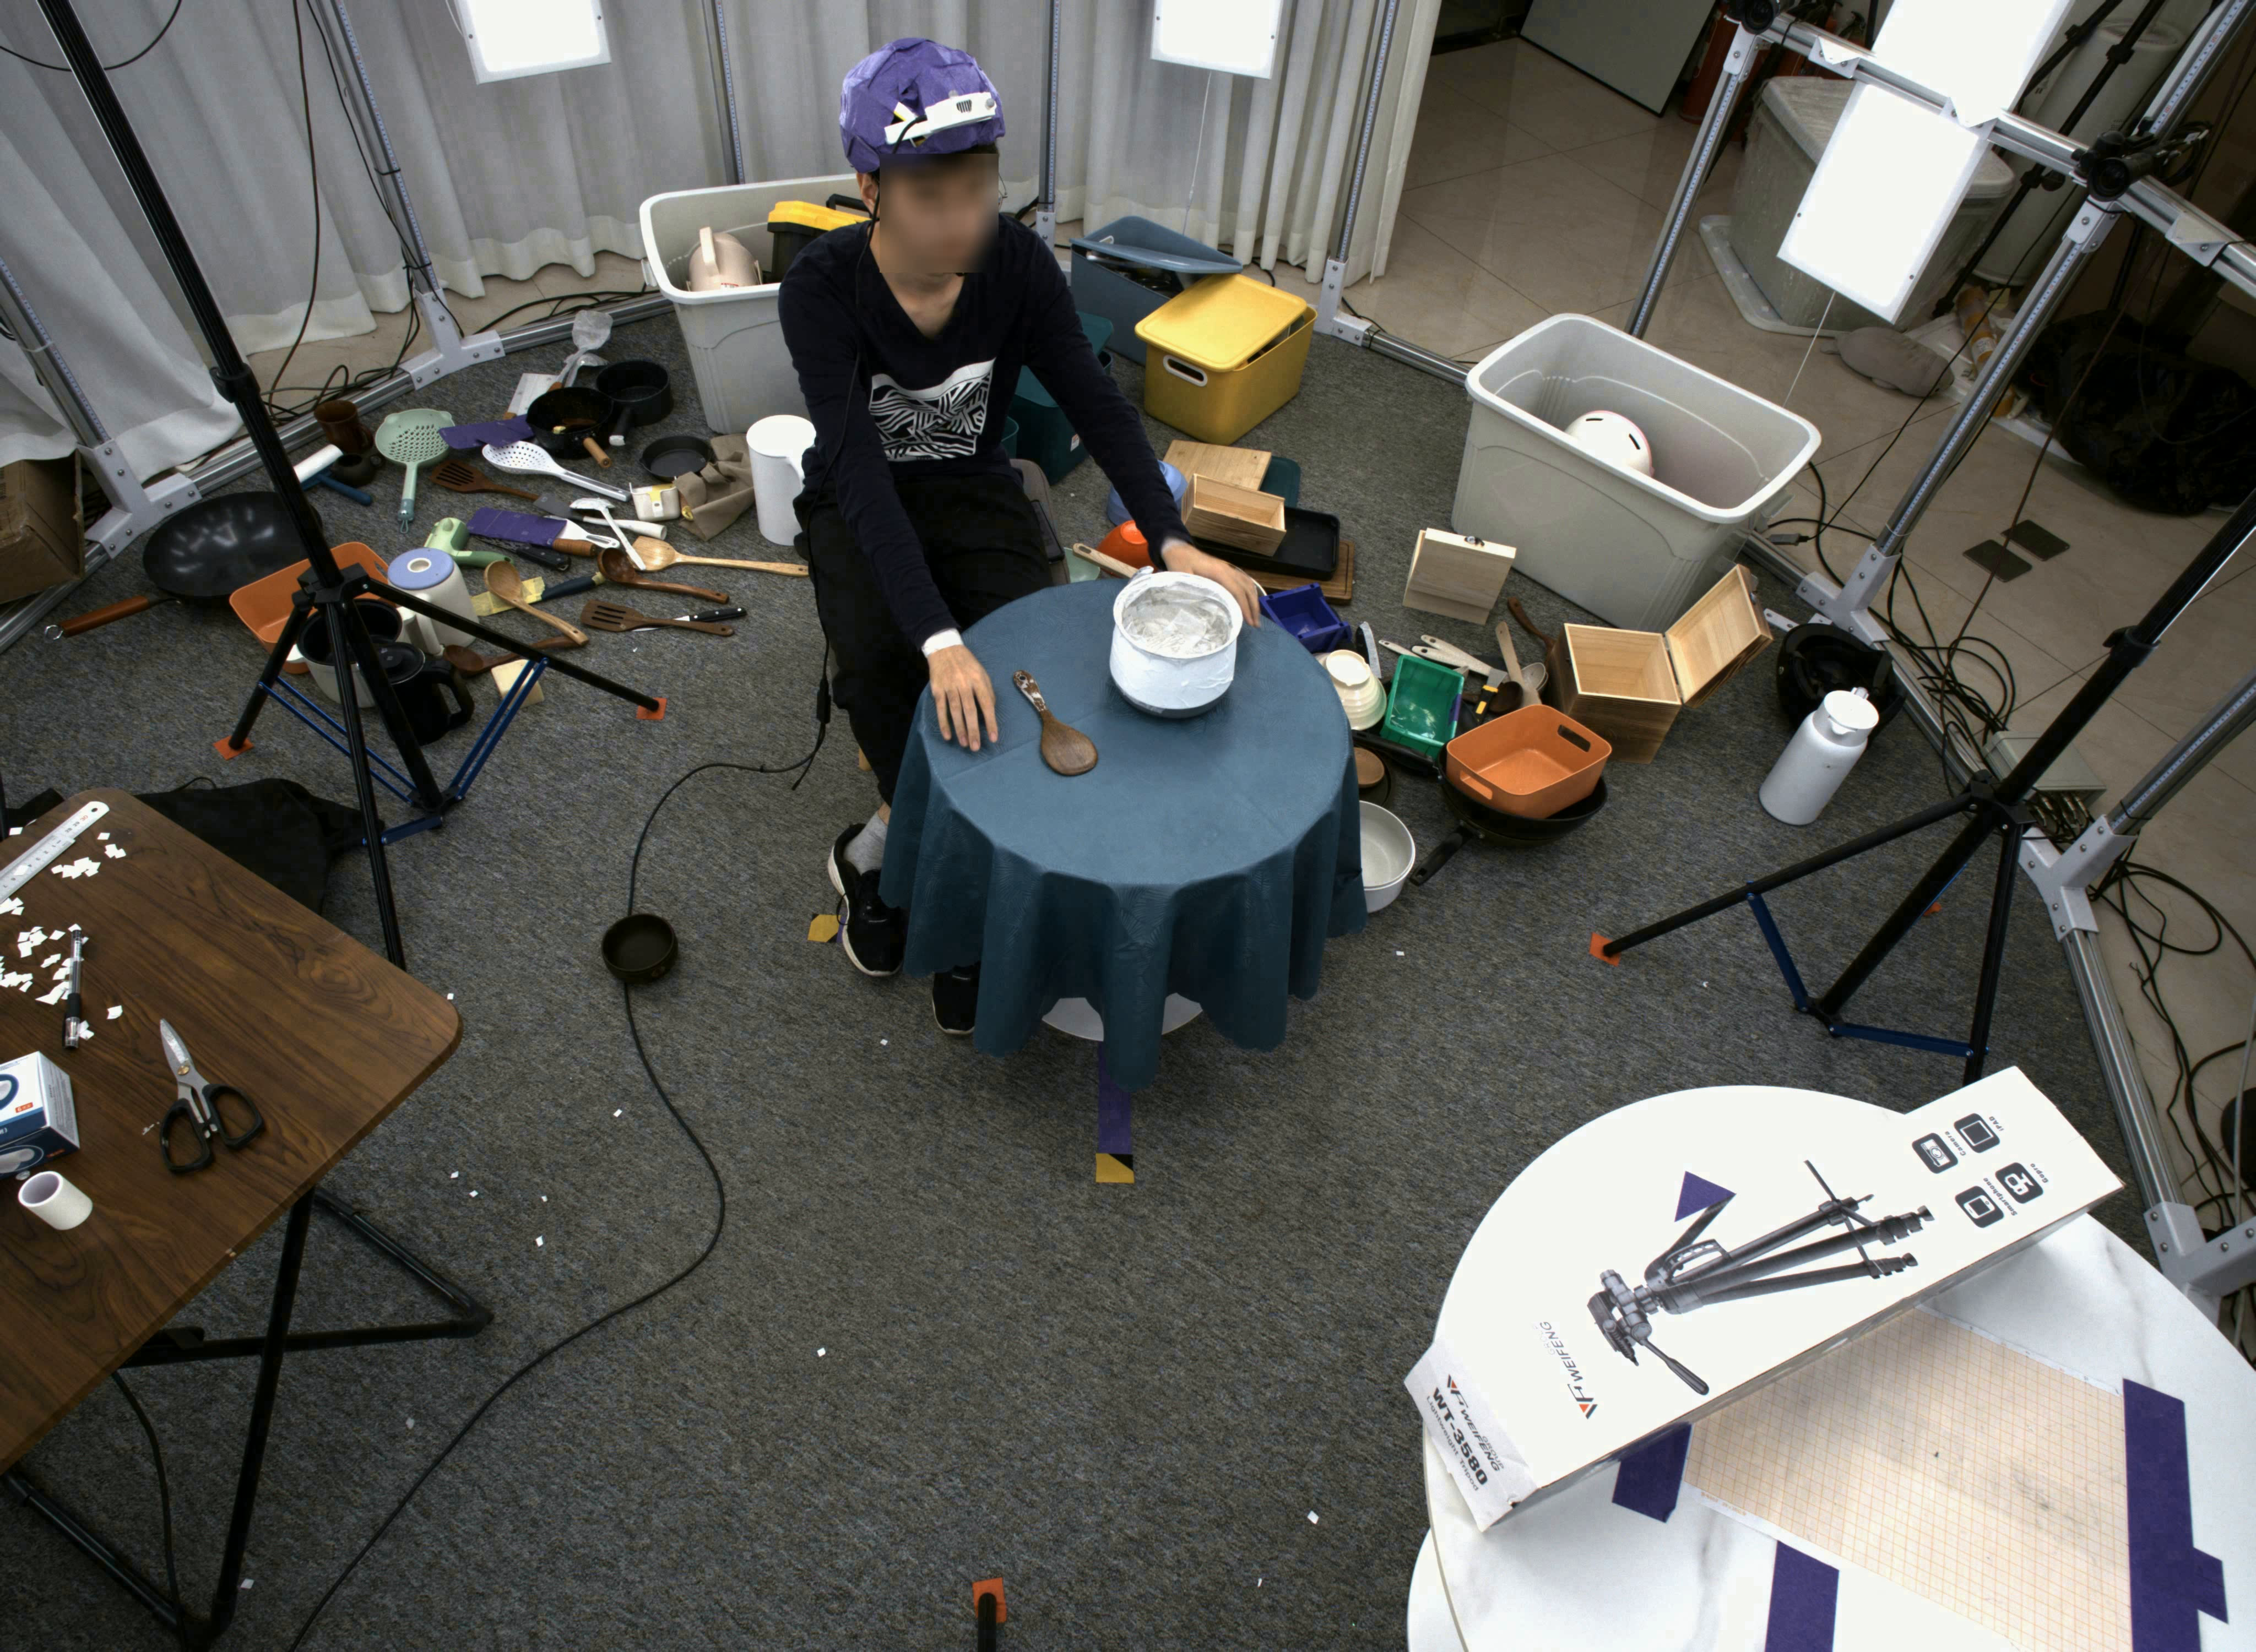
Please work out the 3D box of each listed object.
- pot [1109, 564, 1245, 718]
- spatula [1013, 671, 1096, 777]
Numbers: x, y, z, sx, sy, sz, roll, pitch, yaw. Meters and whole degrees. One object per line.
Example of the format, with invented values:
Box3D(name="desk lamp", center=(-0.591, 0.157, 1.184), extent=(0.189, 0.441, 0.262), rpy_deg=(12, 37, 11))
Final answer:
Box3D(name="pot", center=(0.053, -0.271, 1.815), extent=(0.179, 0.133, 0.239), rpy_deg=(-16, 54, -21))
Box3D(name="spatula", center=(-0.110, -0.147, 1.784), extent=(0.072, 0.009, 0.220), rpy_deg=(-16, 51, -20))
